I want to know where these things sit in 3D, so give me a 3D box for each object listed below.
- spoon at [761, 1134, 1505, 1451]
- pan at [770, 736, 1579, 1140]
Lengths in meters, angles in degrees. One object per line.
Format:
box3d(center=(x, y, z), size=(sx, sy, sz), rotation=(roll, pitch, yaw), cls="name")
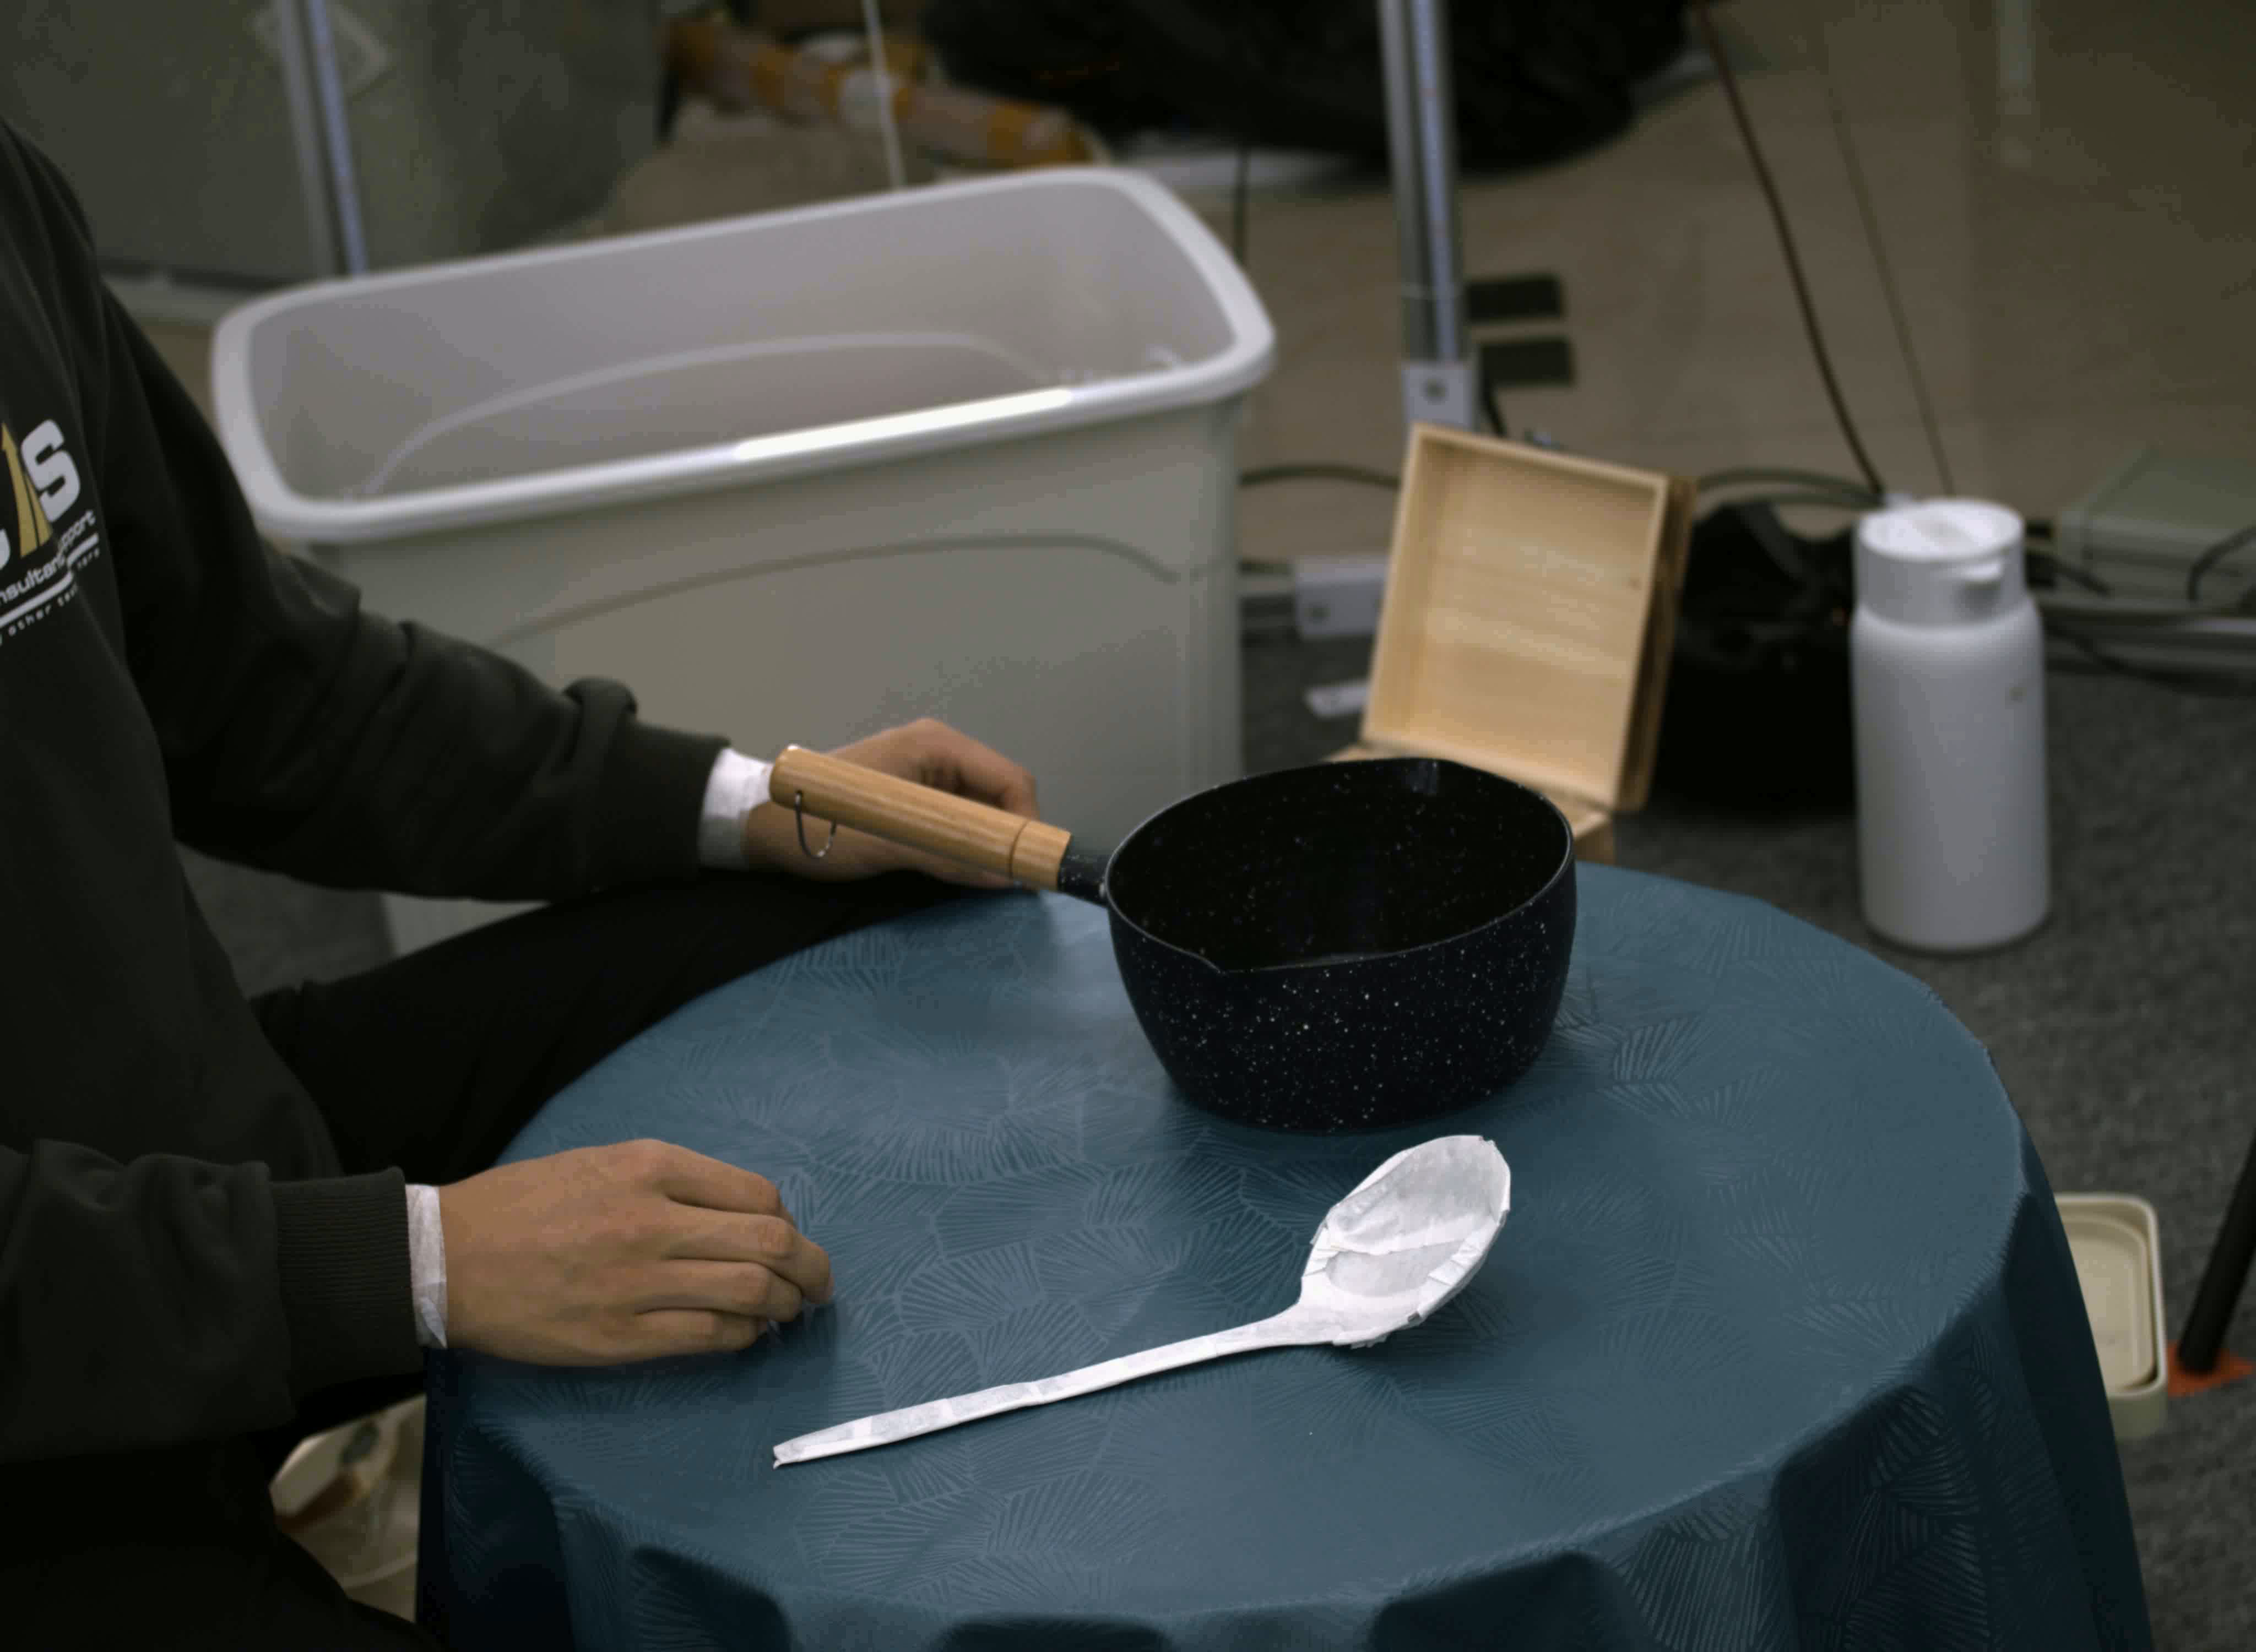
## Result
box3d(center=(0.001, 0.166, 2.024), size=(0.277, 0.060, 0.099), rotation=(-11, 23, -9), cls="spoon")
box3d(center=(0.013, 0.033, 2.248), size=(0.341, 0.110, 0.205), rotation=(7, 29, 24), cls="pan")
